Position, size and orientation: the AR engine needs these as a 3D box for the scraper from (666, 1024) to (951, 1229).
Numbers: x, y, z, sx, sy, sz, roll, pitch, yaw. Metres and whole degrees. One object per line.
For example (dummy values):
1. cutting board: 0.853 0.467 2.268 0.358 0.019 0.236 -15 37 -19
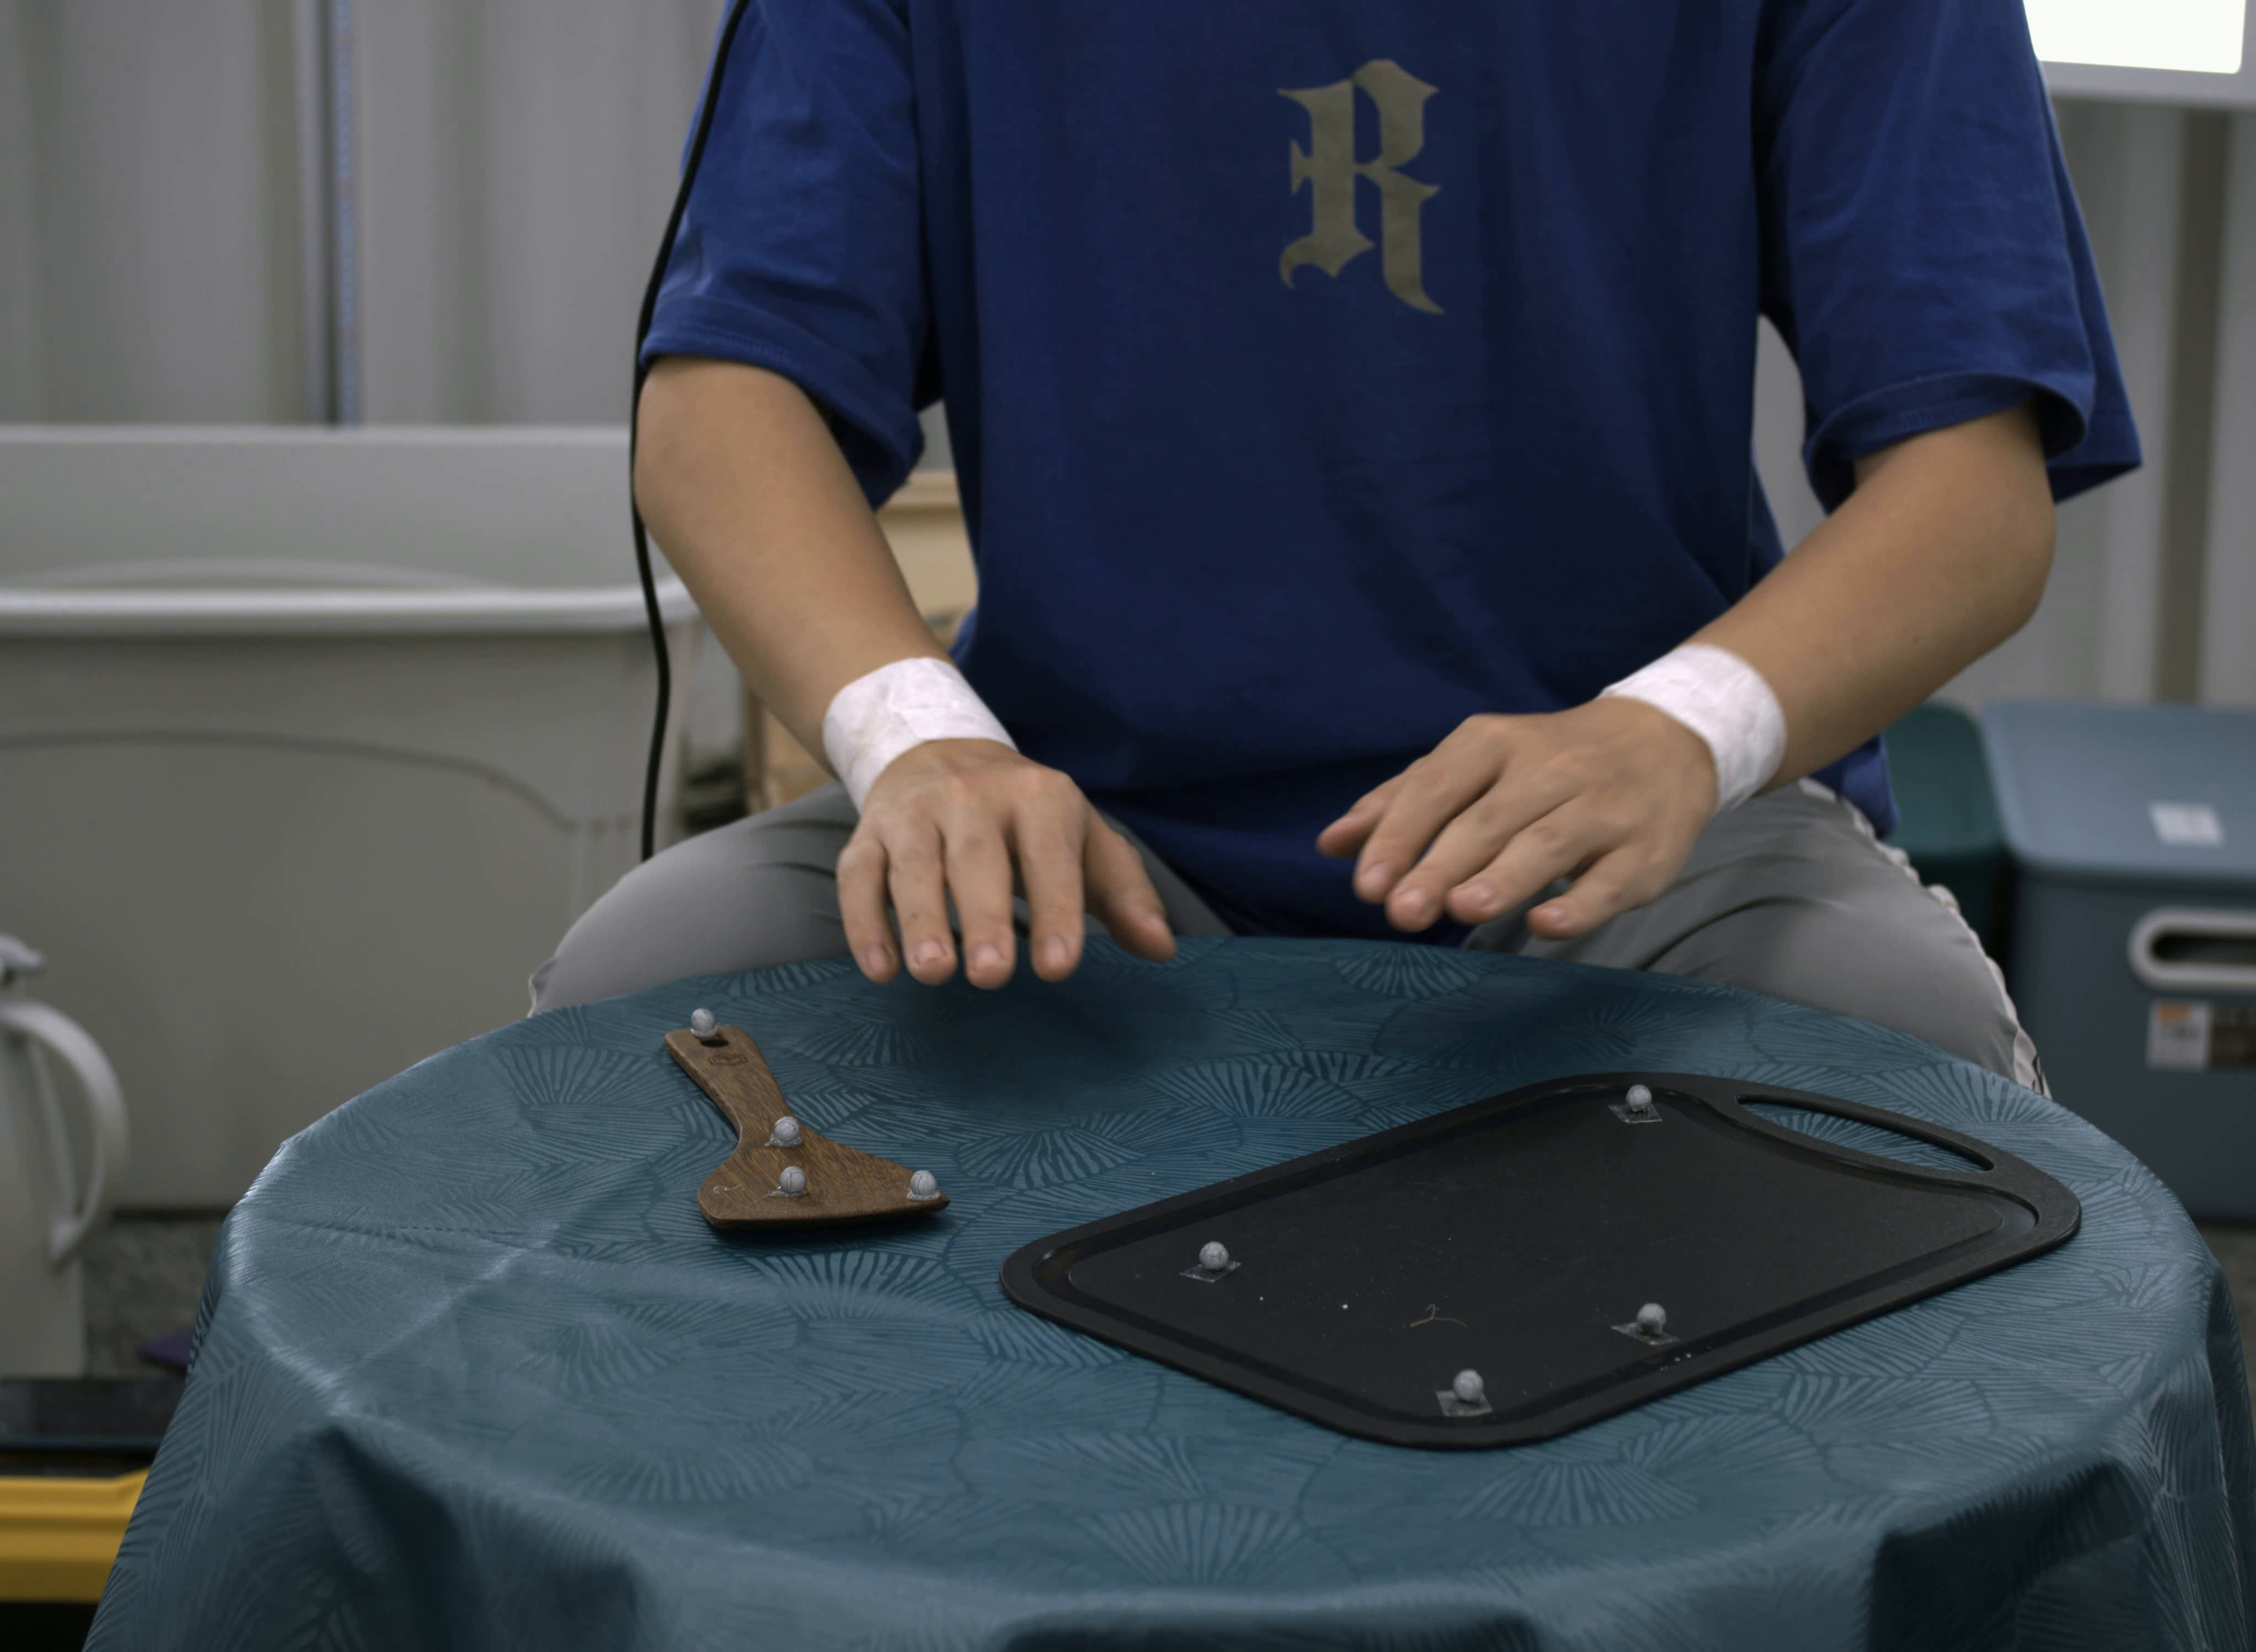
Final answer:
1. scraper: -0.114 0.094 1.667 0.076 0.011 0.209 -3 15 -15

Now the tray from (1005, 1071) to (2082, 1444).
1. tray: 0.133 0.121 1.583 0.327 0.010 0.208 -13 21 -42
